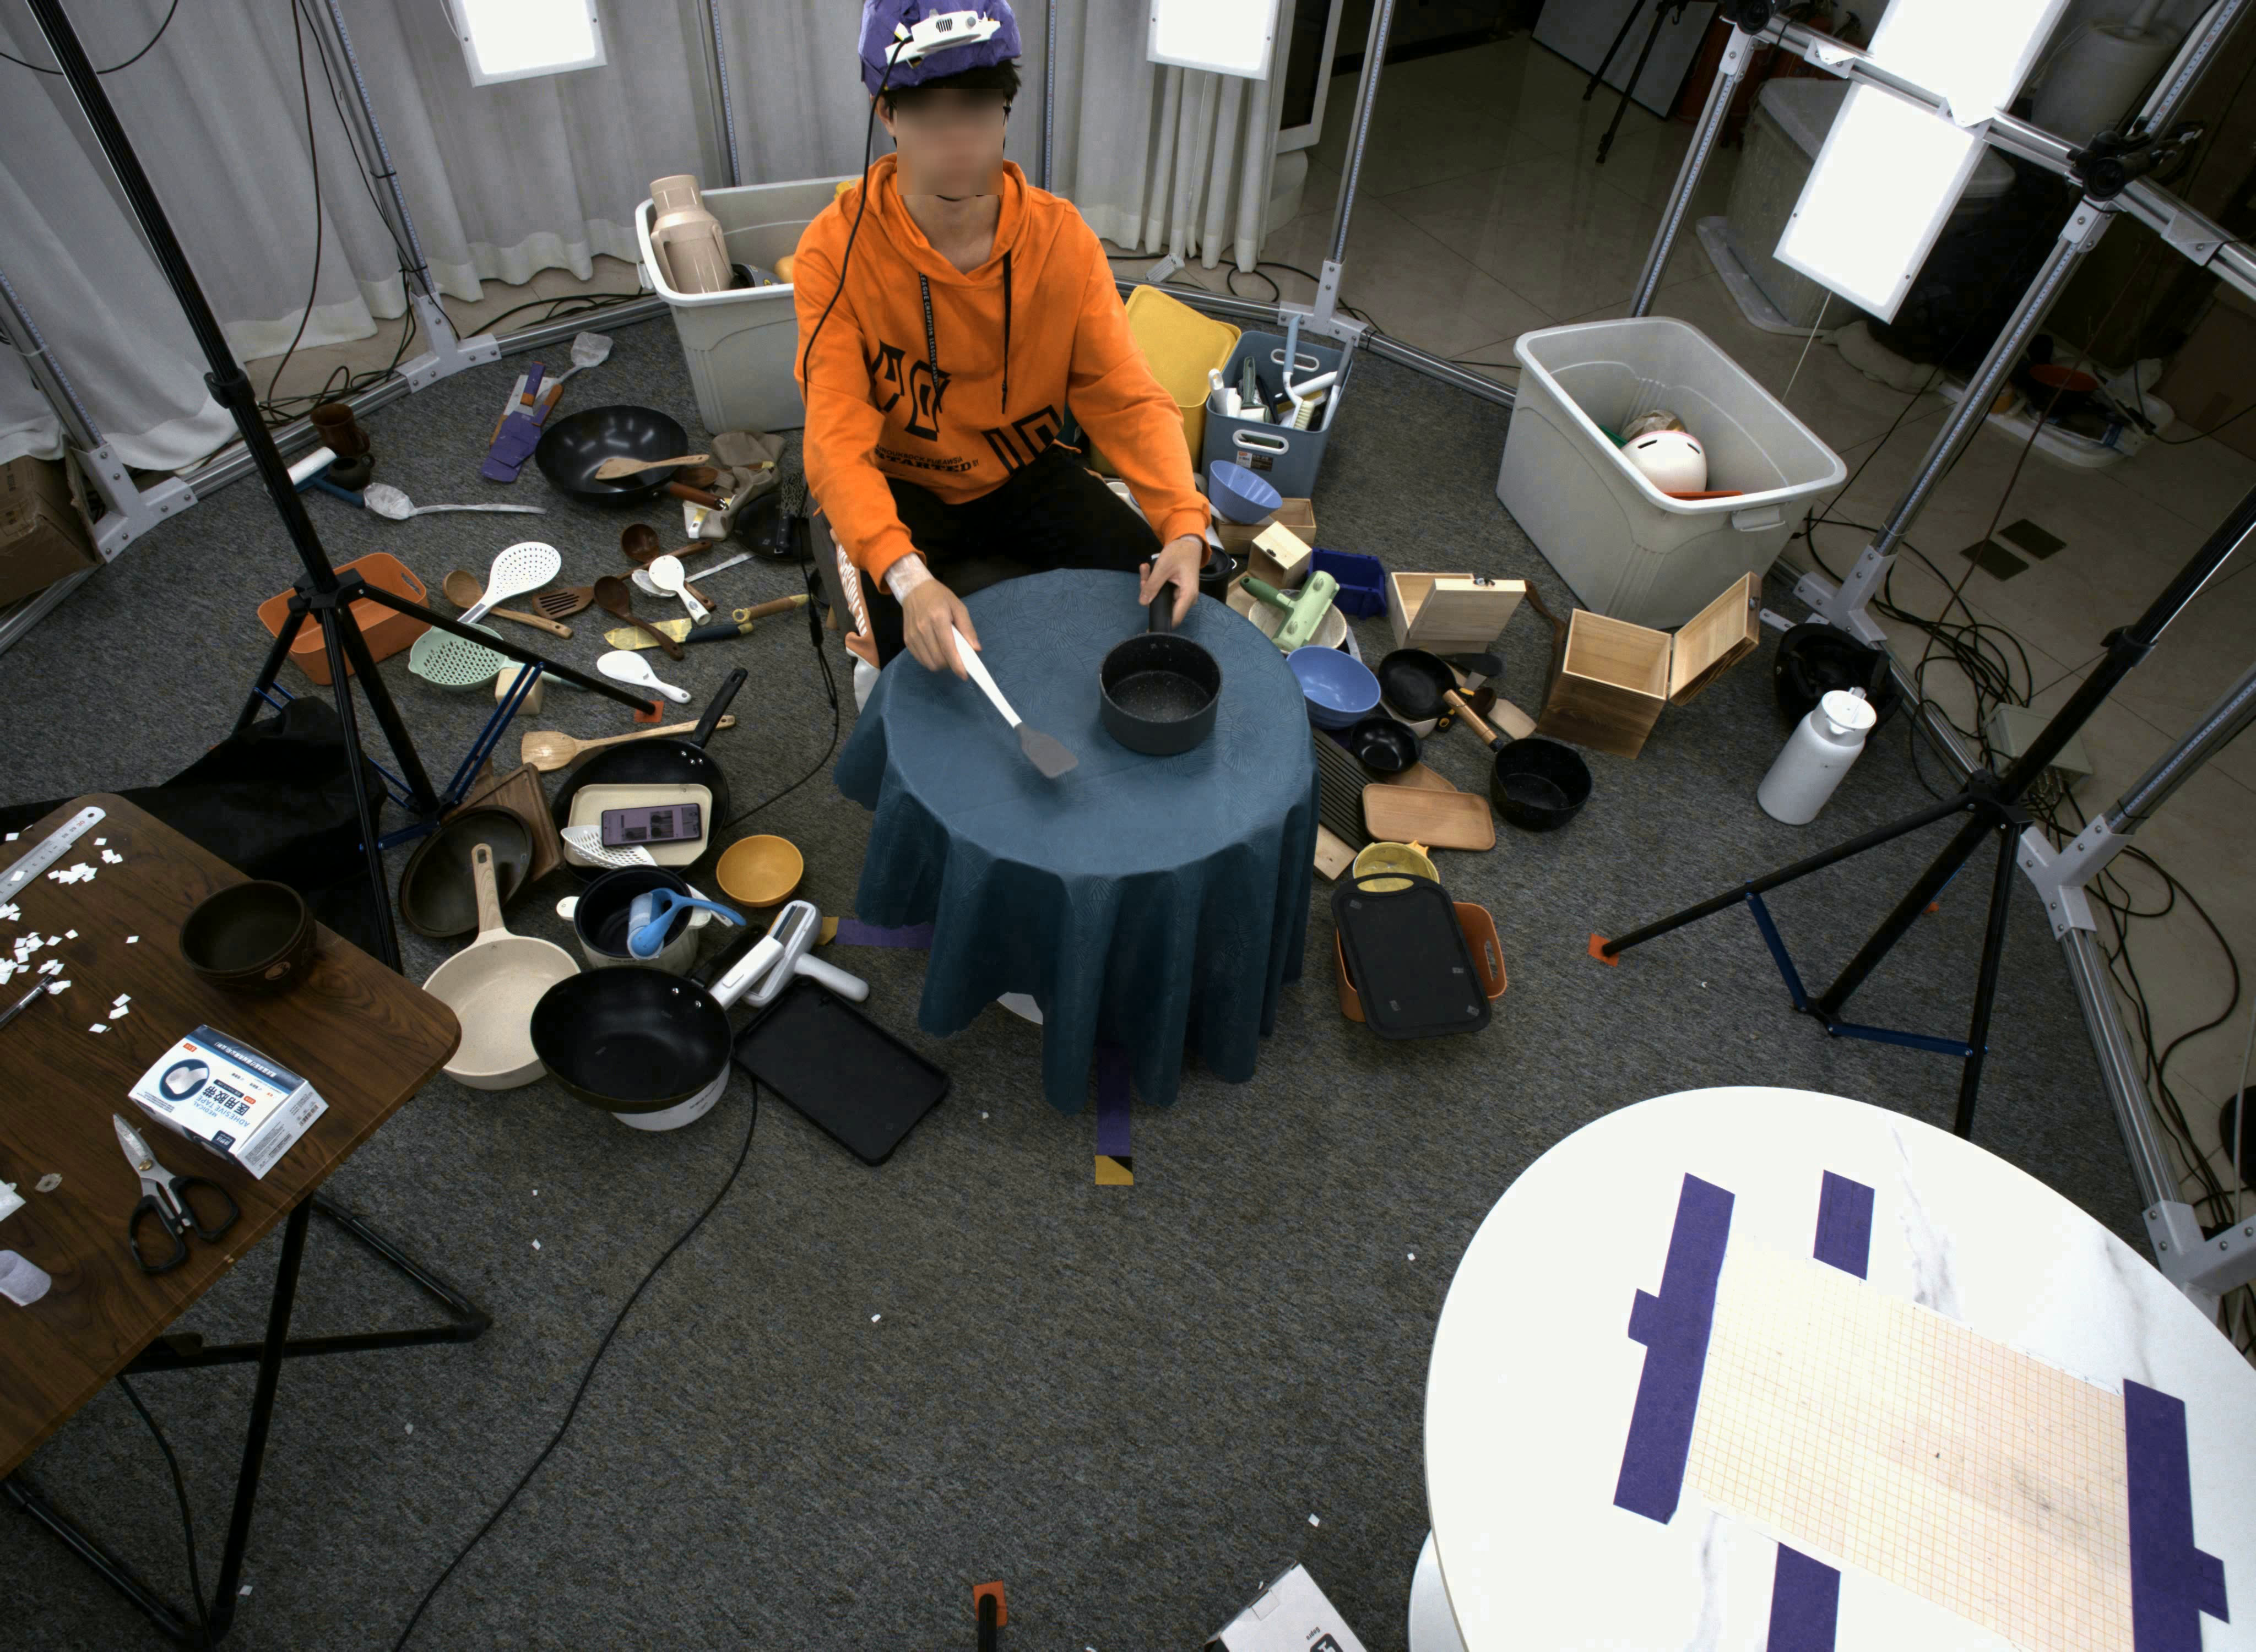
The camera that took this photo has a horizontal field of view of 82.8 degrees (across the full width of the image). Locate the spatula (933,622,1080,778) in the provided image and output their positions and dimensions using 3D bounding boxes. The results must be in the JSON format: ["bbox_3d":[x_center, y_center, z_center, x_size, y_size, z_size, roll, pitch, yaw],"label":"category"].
[{"bbox_3d":[-0.168,-0.168,1.720,0.059,0.031,0.292,-27,63,-30],"label":"spatula"}]

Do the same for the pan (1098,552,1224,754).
[{"bbox_3d":[0.049,-0.248,1.824,0.172,0.084,0.336,4,52,1],"label":"pan"}]
